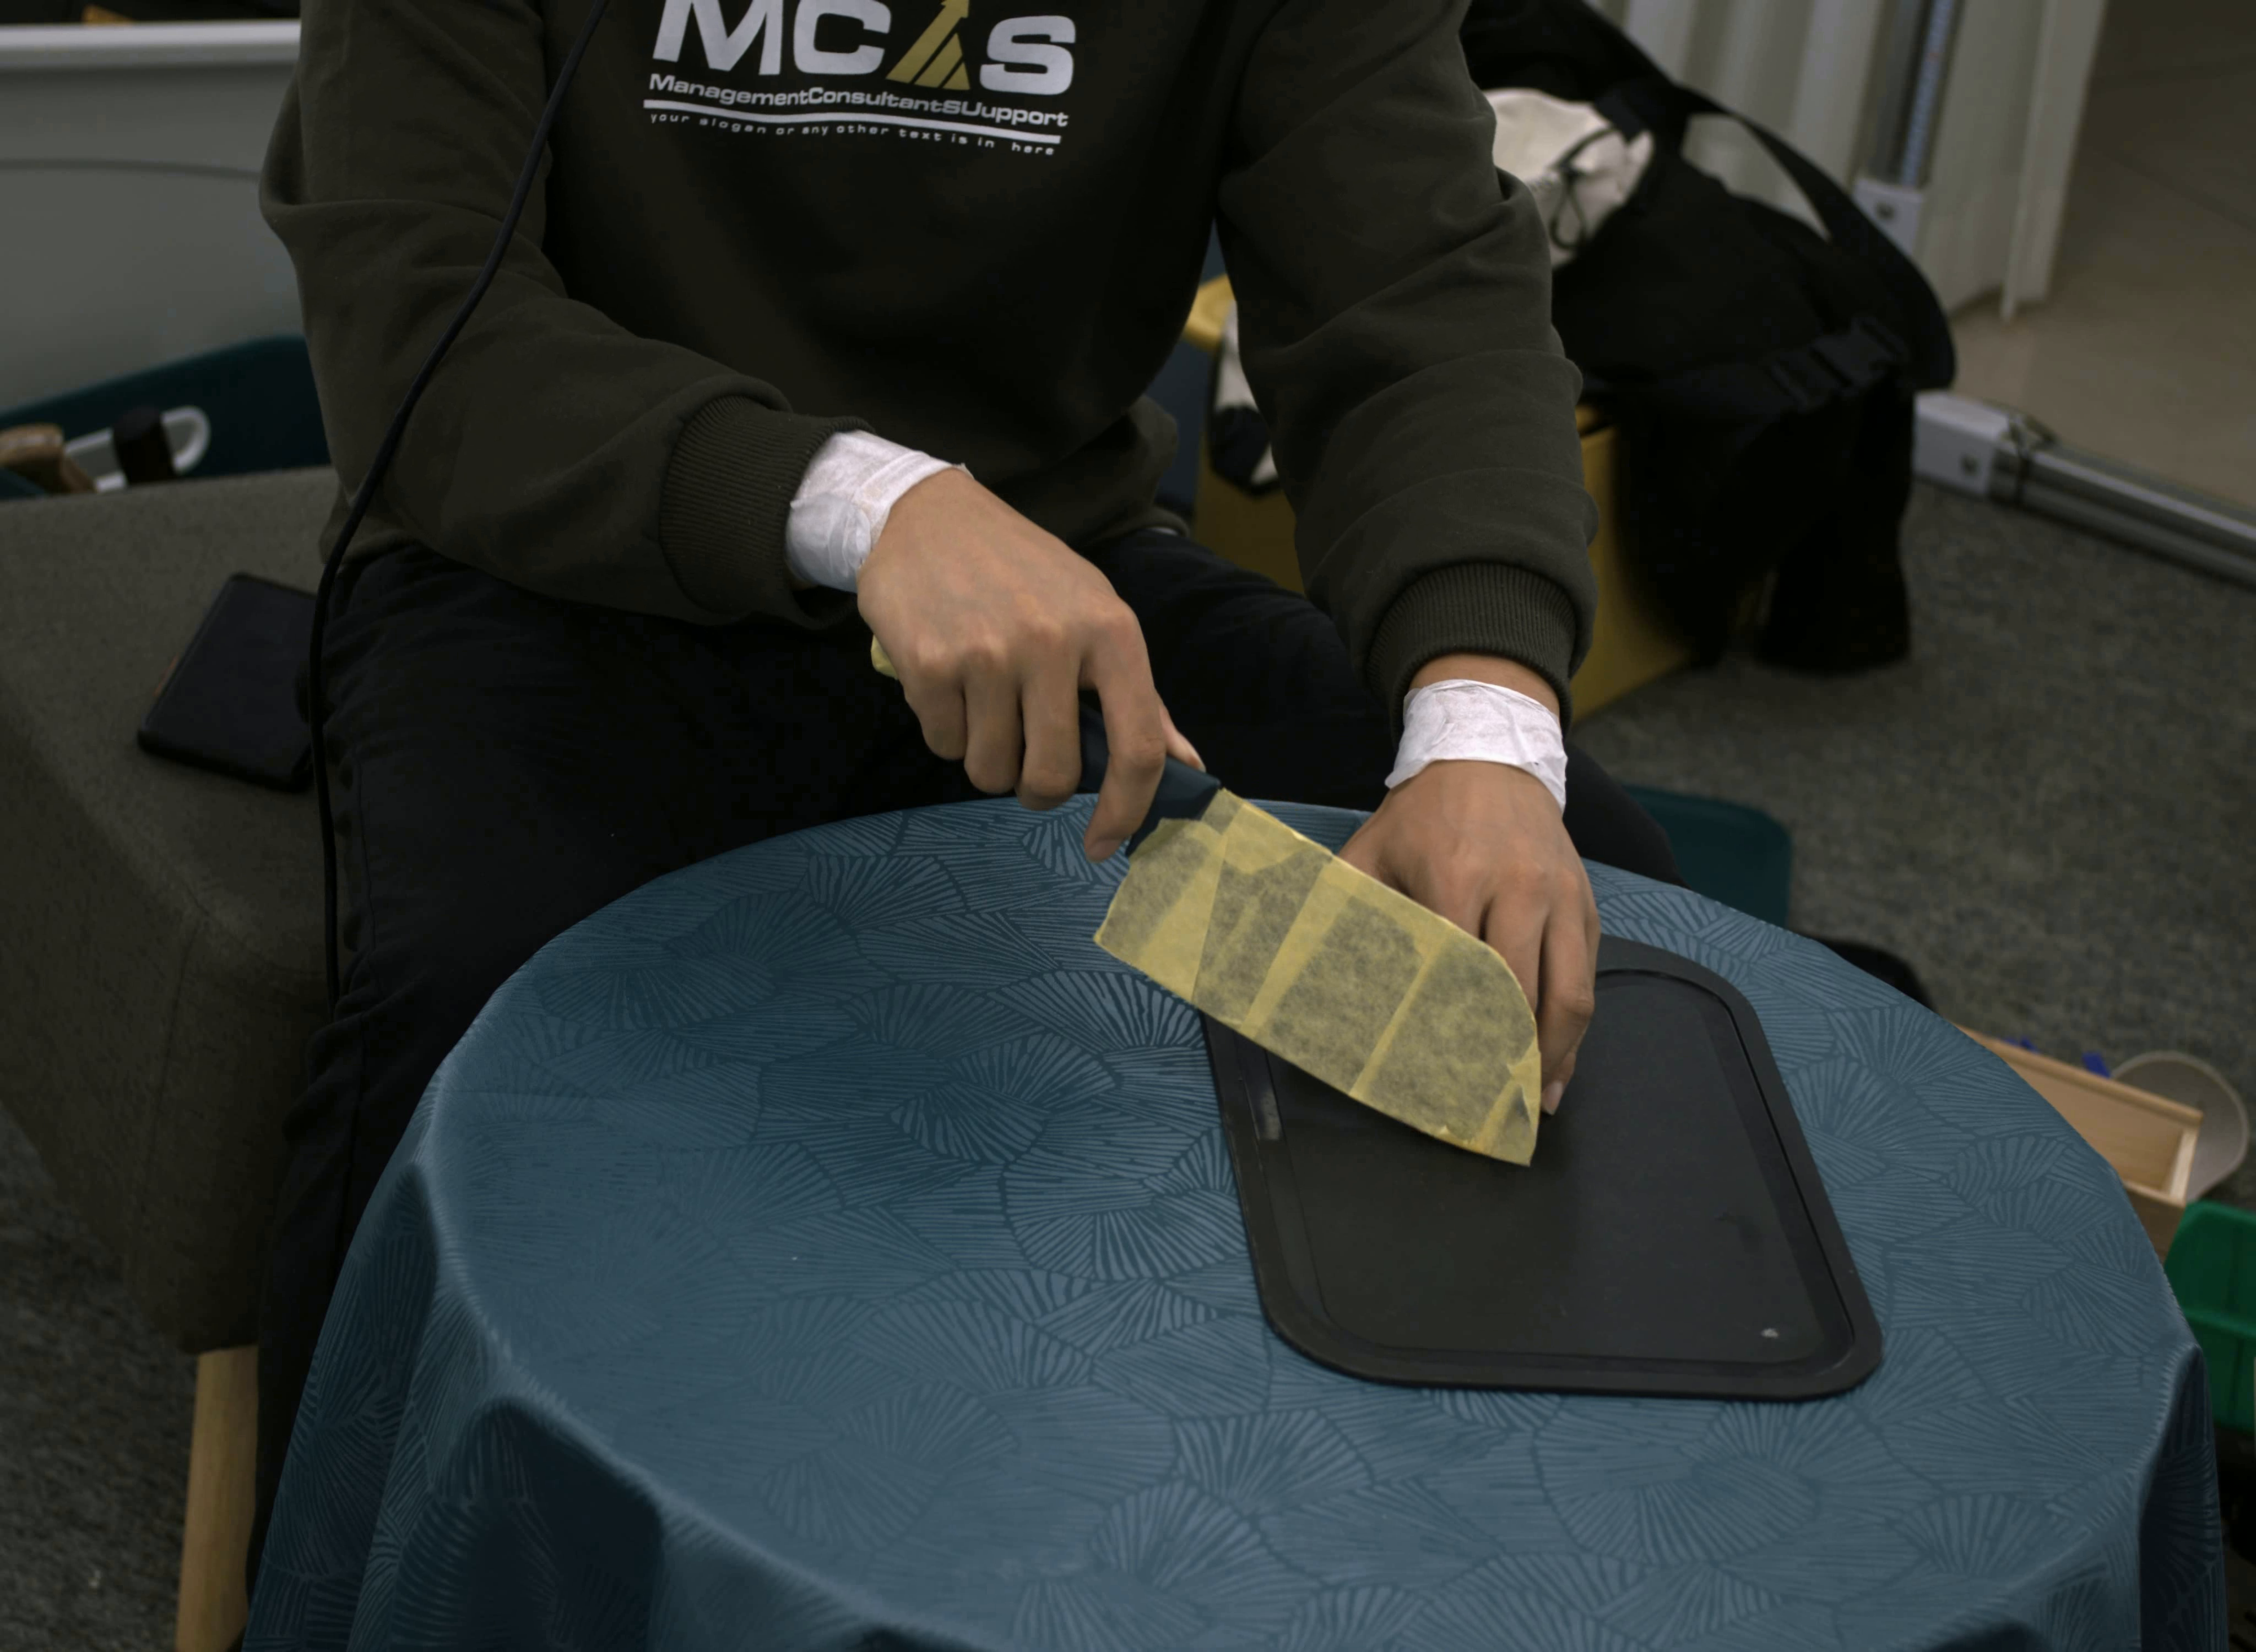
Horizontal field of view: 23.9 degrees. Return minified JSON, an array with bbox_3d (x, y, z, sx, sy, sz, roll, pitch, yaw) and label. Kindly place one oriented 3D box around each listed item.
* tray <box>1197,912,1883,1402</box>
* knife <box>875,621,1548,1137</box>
[{"bbox_3d":[0.136,0.107,1.861,0.210,0.010,0.328,3,27,-7],"label":"tray"},{"bbox_3d":[0.025,0.019,1.863,0.290,0.081,0.027,34,12,11],"label":"knife"}]
